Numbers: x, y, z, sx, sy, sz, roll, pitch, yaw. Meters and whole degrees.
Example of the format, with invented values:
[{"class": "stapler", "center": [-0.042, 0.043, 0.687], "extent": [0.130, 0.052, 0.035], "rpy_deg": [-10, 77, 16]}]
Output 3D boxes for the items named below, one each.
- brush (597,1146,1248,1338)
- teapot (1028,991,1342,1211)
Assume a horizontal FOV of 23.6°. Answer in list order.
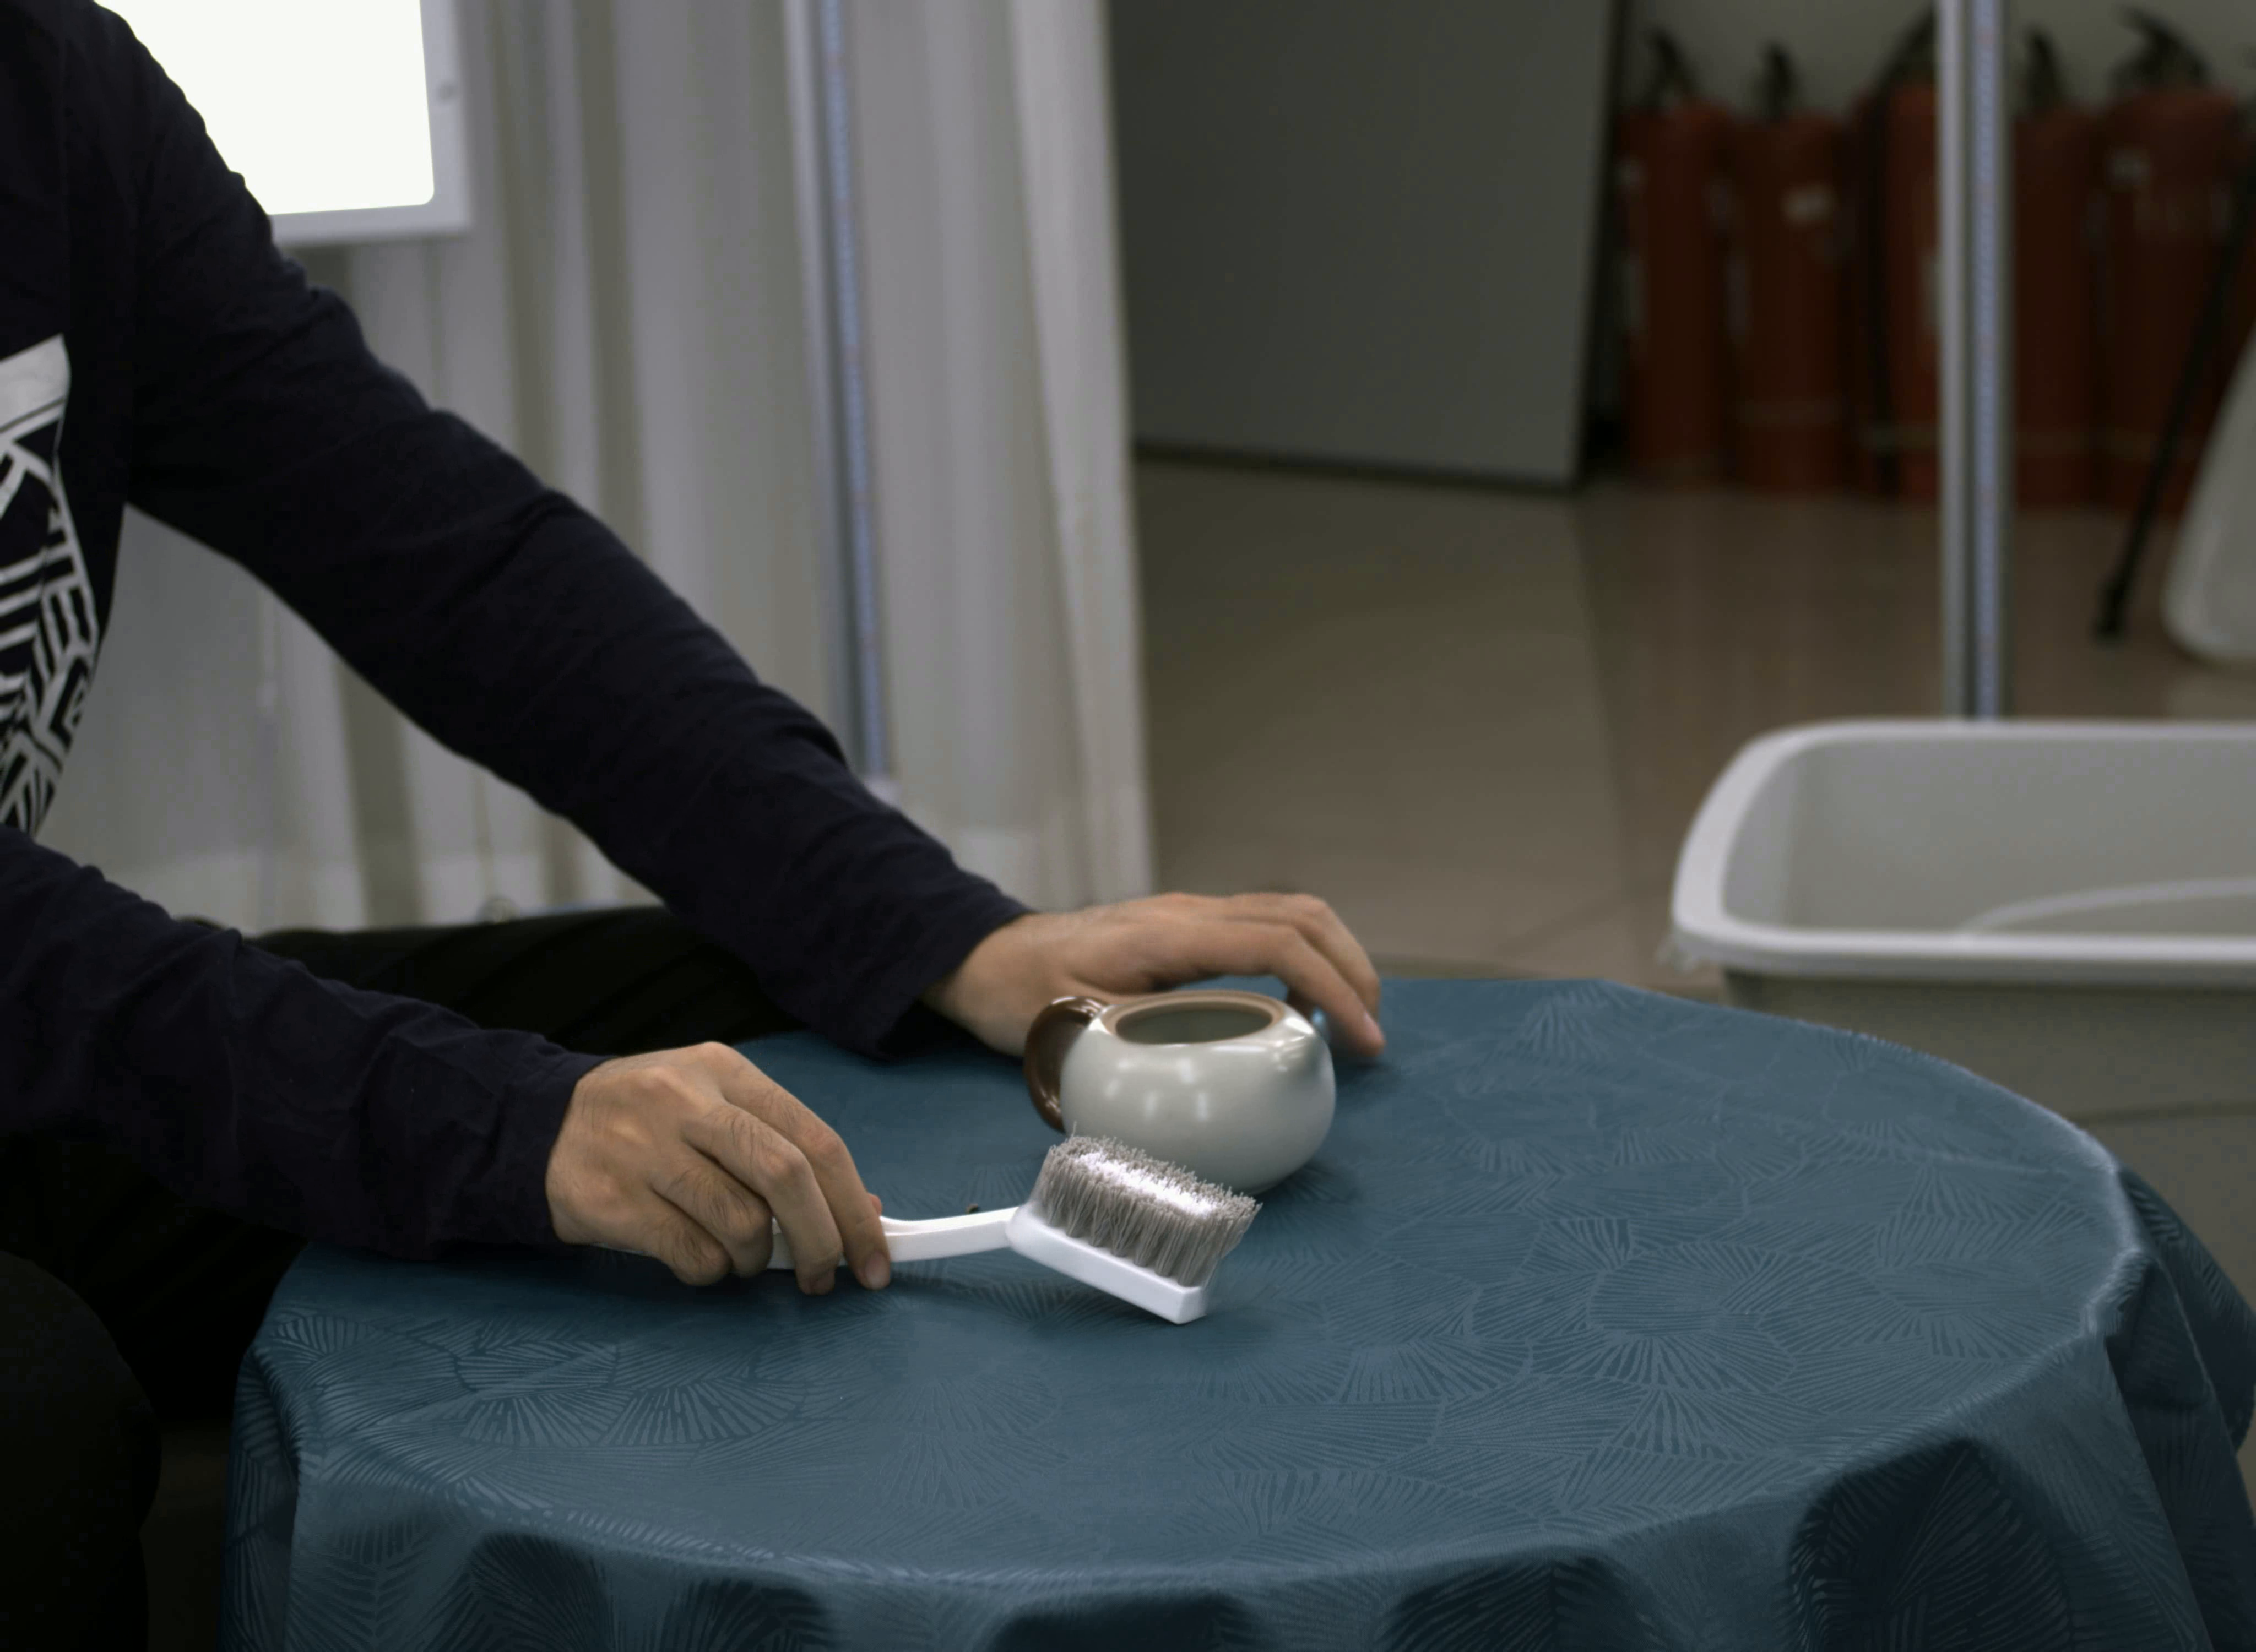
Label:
[{"class": "brush", "center": [-0.070, 0.120, 1.701], "extent": [0.245, 0.050, 0.034], "rpy_deg": [5, 23, 33]}, {"class": "teapot", "center": [0.018, 0.089, 1.782], "extent": [0.129, 0.060, 0.090], "rpy_deg": [8, 22, 37]}]
